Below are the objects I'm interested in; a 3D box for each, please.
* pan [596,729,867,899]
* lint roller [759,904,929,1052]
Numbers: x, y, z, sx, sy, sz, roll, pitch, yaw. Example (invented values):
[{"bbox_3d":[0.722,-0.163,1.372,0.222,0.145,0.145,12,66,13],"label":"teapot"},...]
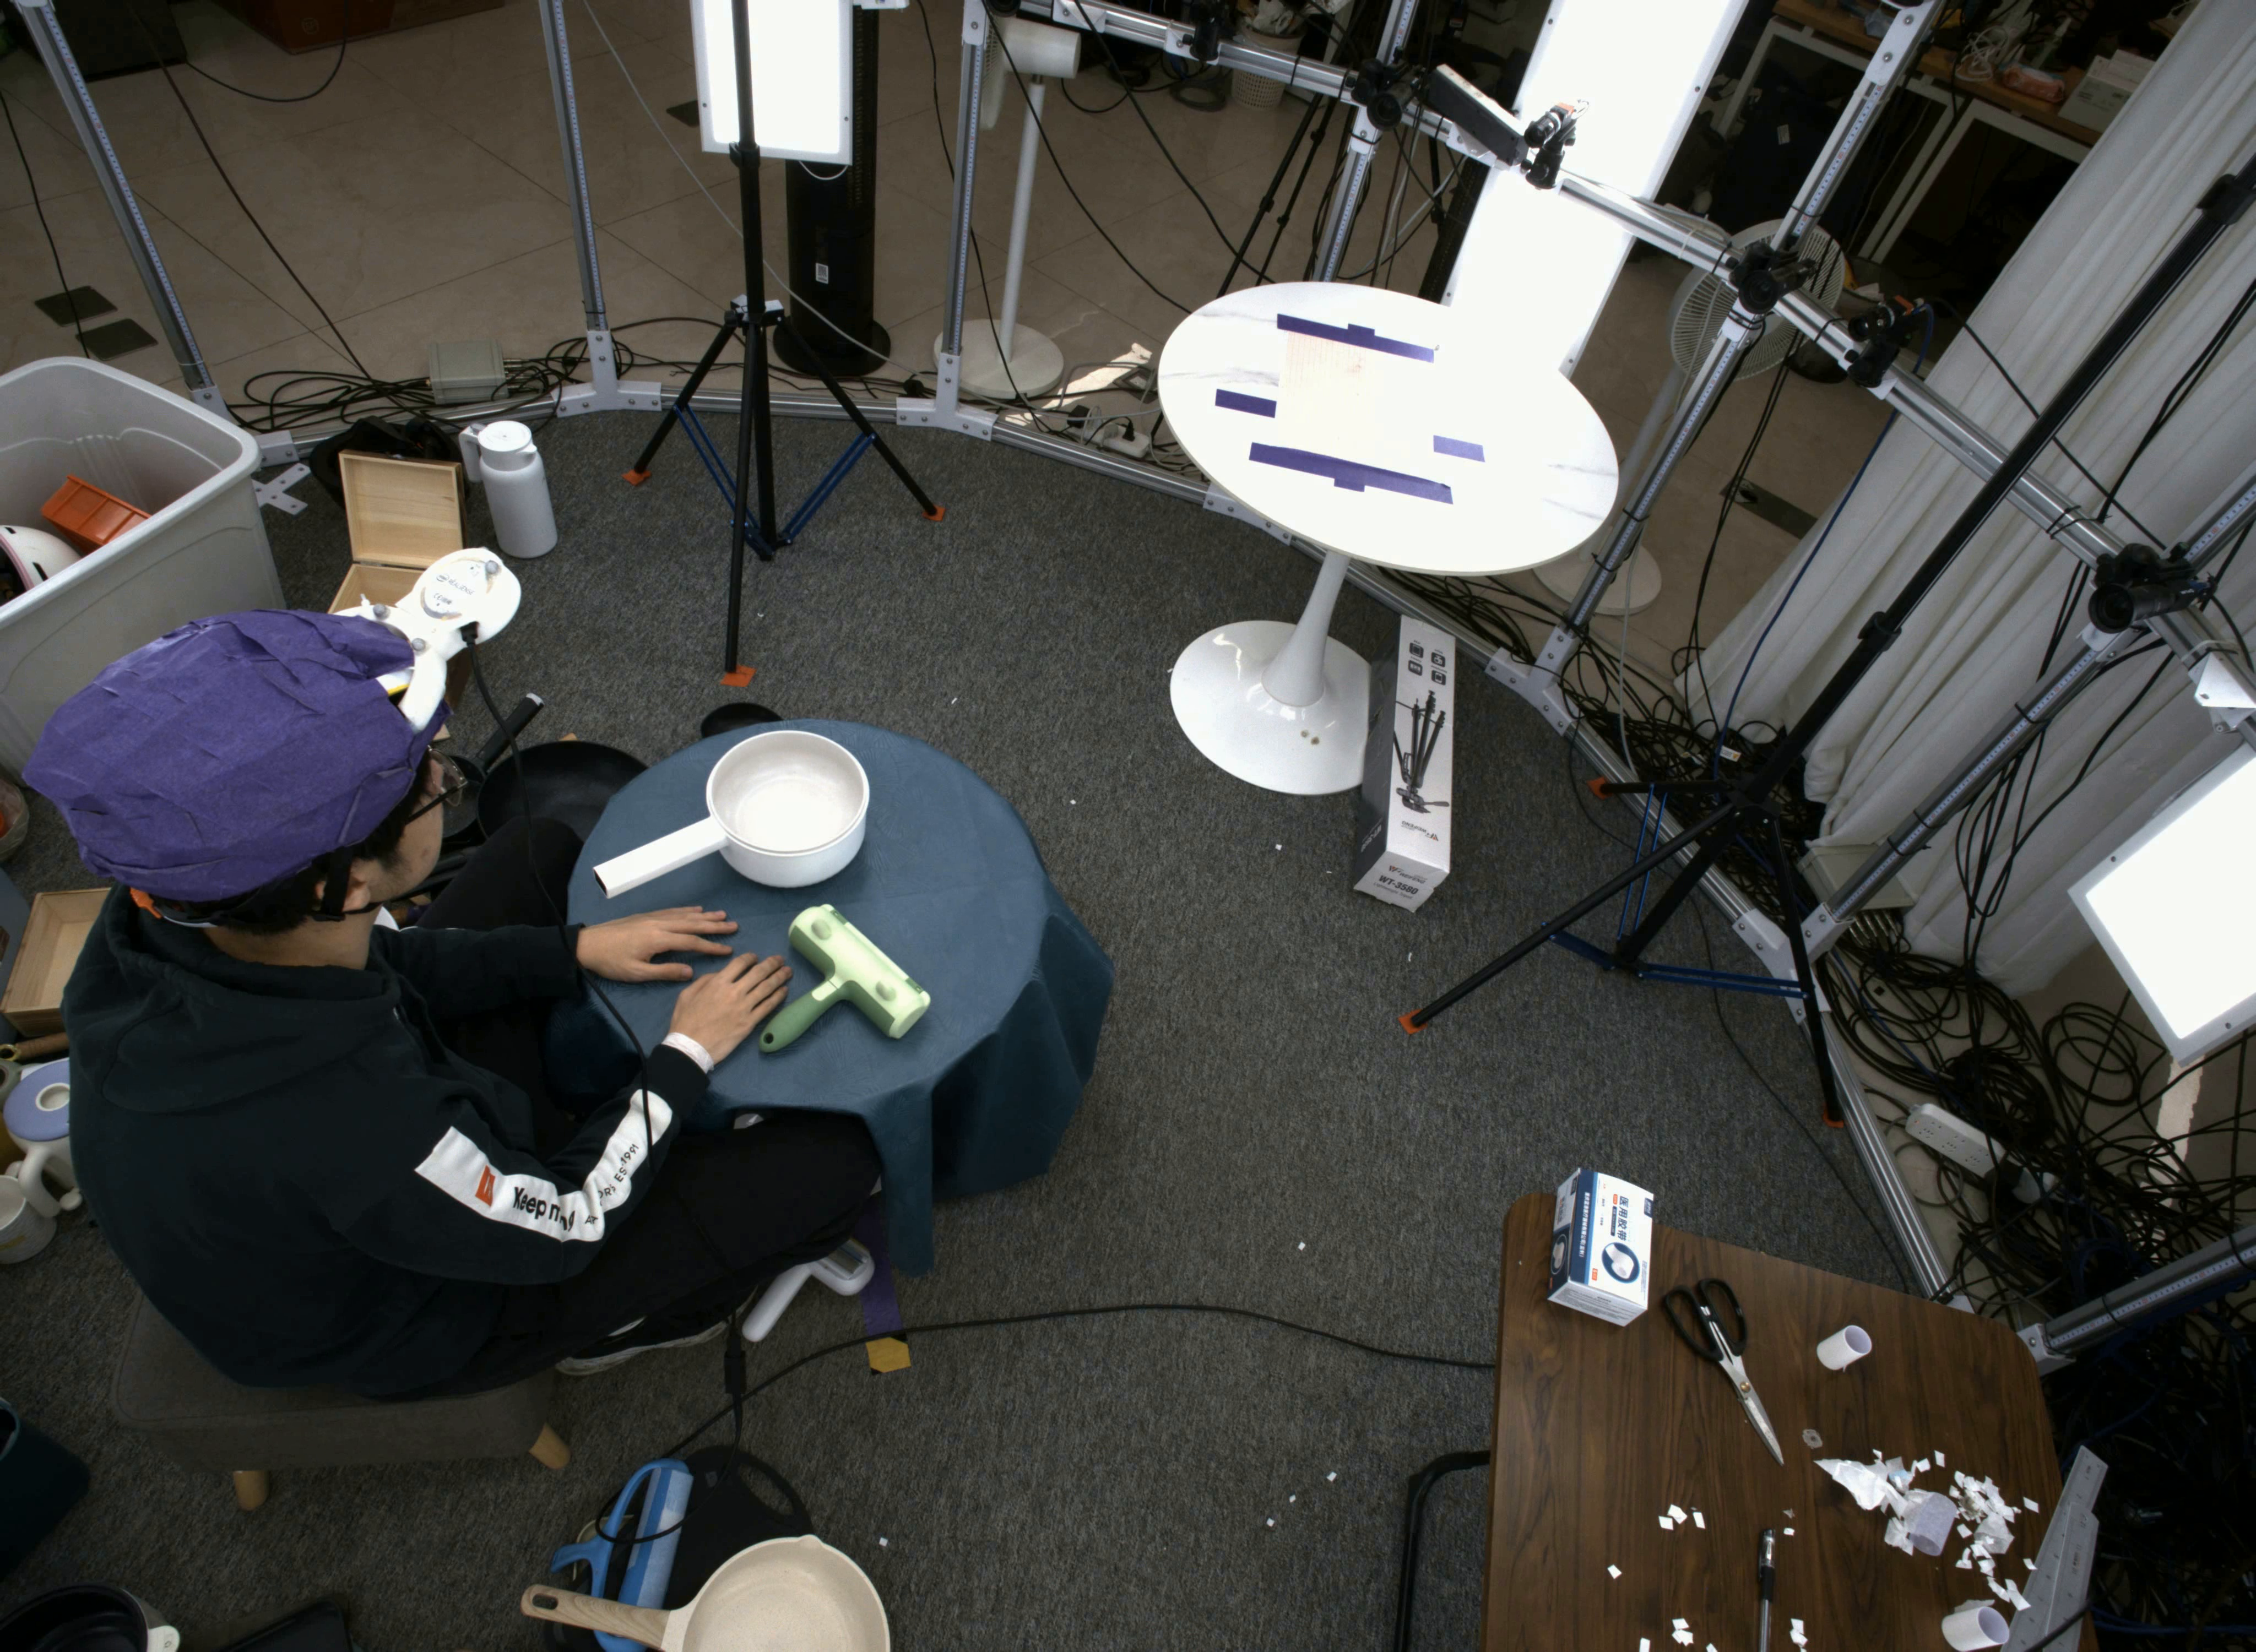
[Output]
[{"bbox_3d":[-0.499,0.014,1.637,0.356,0.104,0.197,-29,66,-30],"label":"pan"},{"bbox_3d":[-0.367,0.196,1.551,0.194,0.083,0.184,40,49,15],"label":"lint roller"}]
